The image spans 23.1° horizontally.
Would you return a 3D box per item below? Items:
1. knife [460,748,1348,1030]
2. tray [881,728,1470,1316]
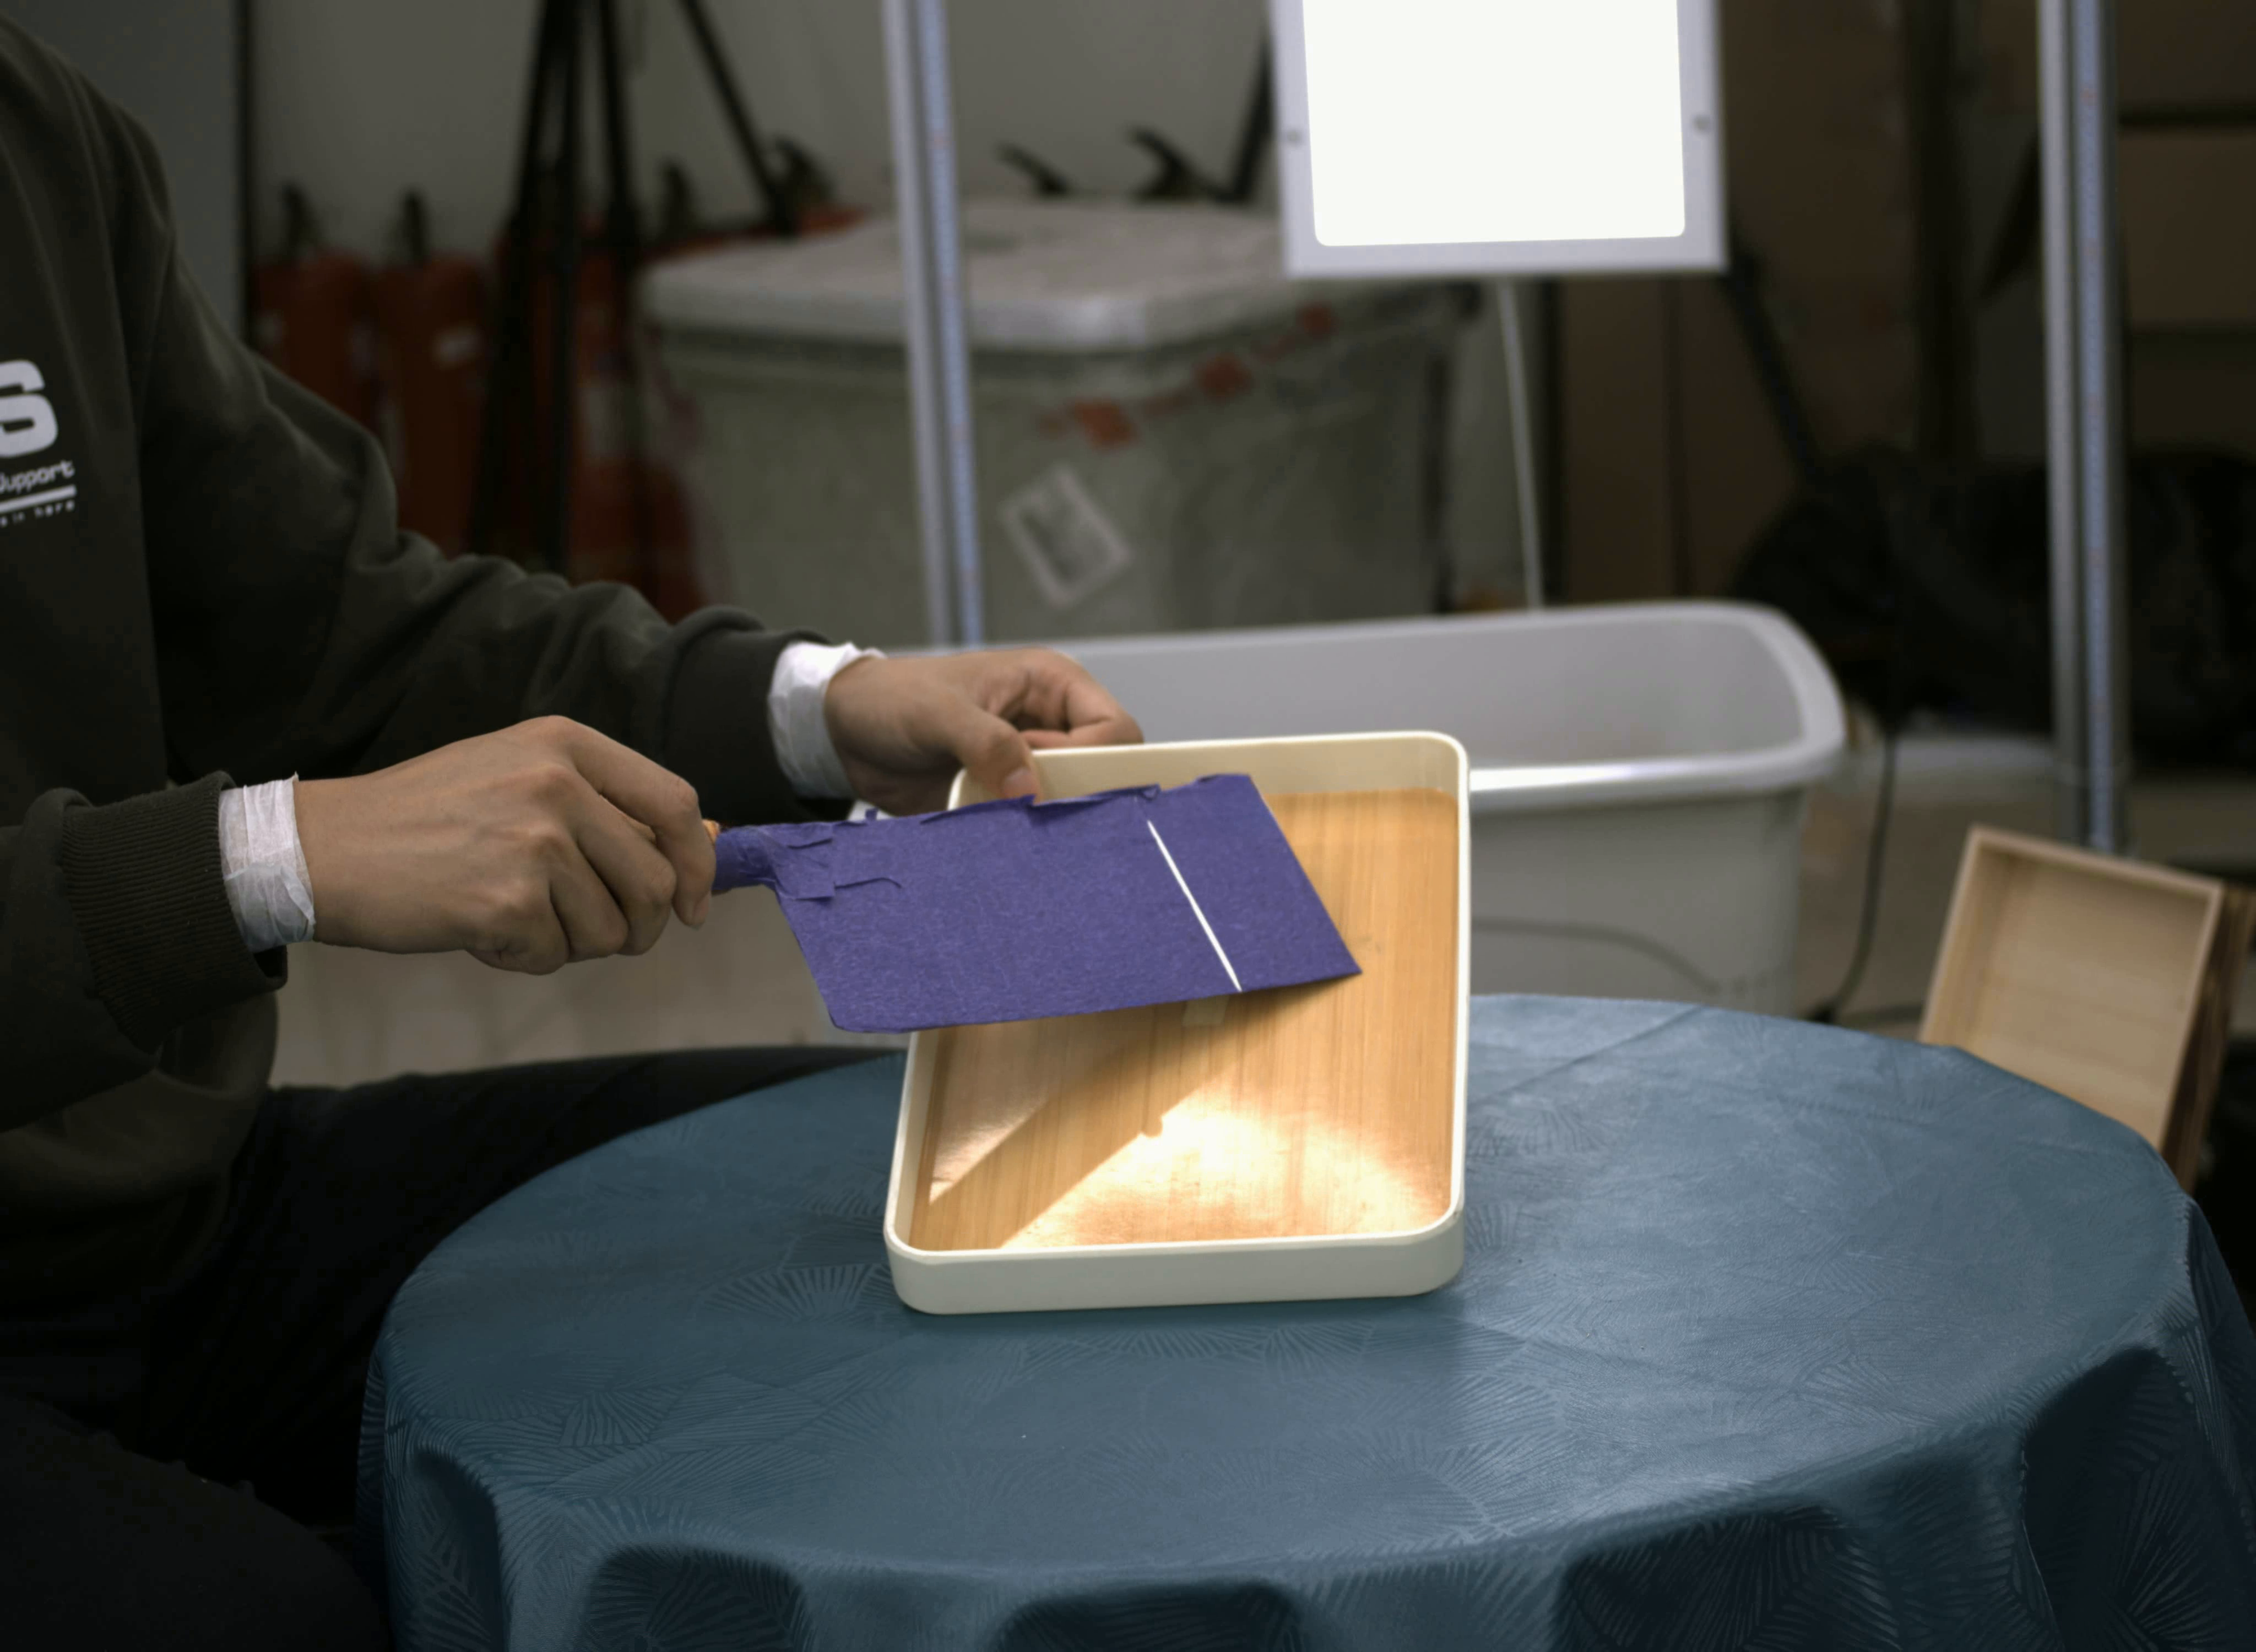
[{"bbox_3d":[-0.067,0.026,1.859,0.308,0.032,0.104,-8,51,-28],"label":"knife"},{"bbox_3d":[0.022,0.062,1.895,0.192,0.027,0.298,-4,34,8],"label":"tray"}]
